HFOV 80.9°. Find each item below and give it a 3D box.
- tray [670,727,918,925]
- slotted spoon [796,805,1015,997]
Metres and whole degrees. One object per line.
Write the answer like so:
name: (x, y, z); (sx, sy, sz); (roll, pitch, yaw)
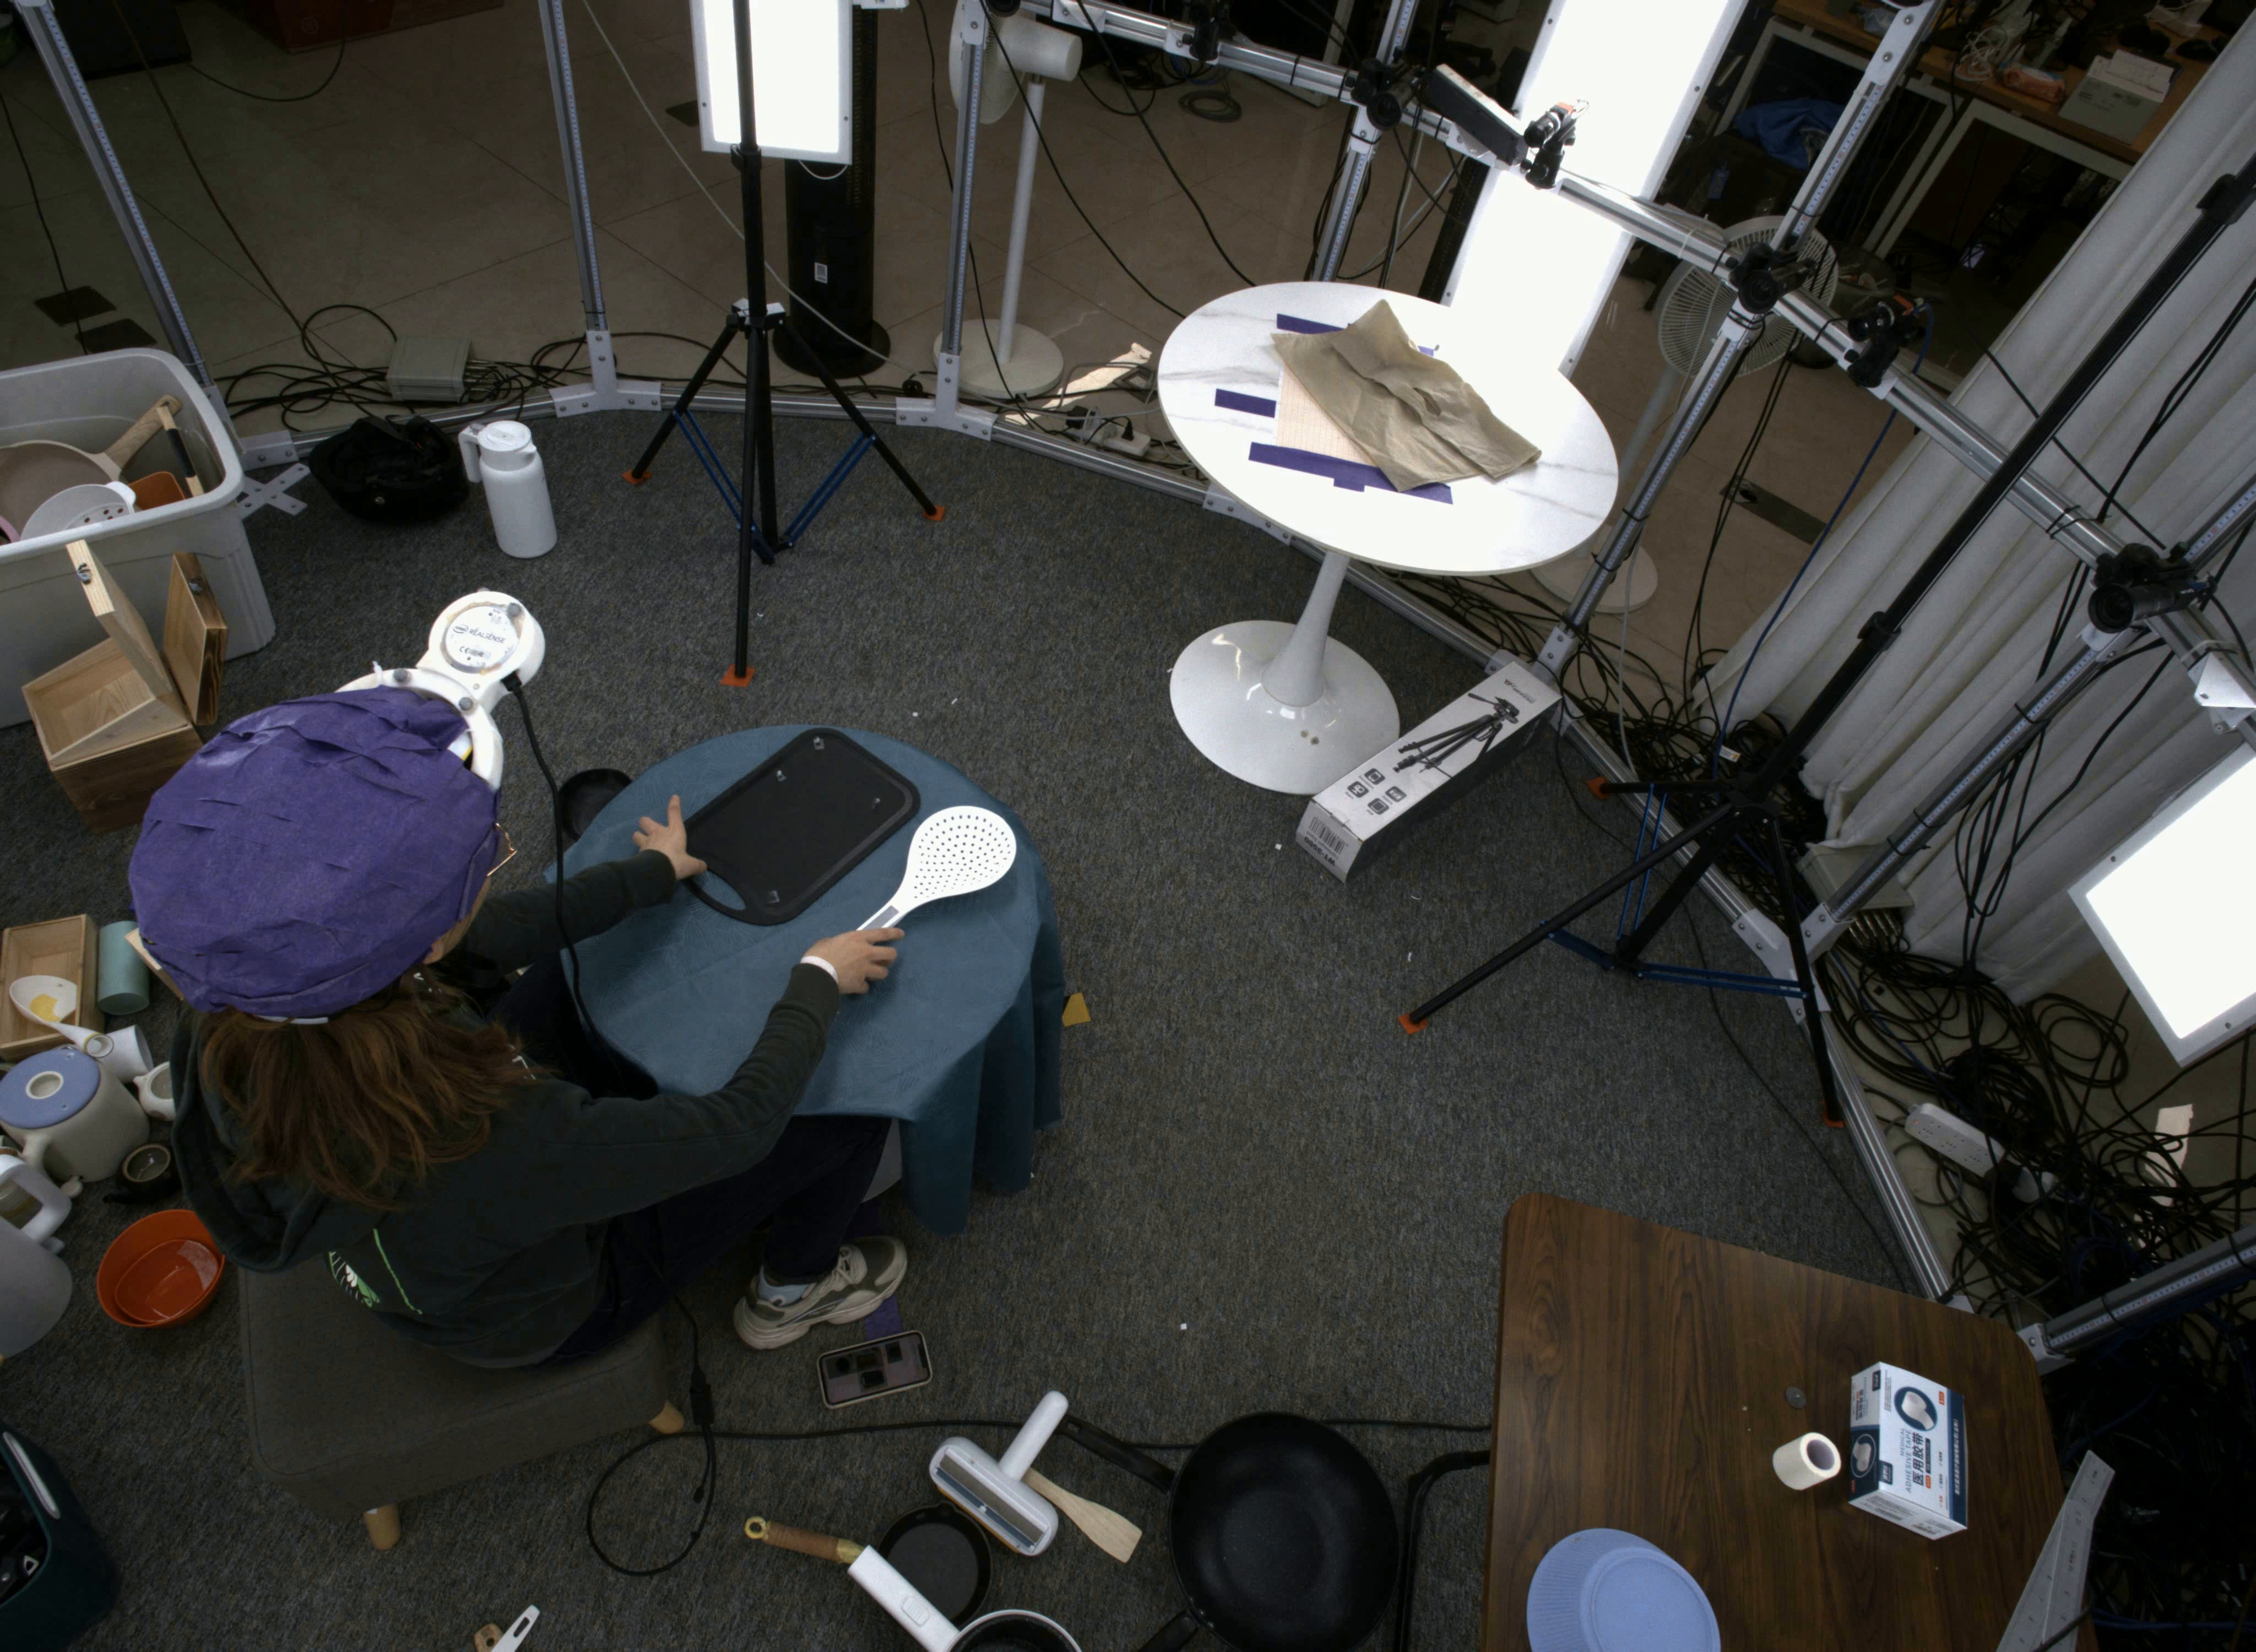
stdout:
tray: (-0.445, -0.004, 1.722); (0.207, 0.010, 0.325); (35, 54, 13)
slotted spoon: (-0.286, 0.095, 1.664); (0.132, 0.047, 0.350); (36, 54, 19)
